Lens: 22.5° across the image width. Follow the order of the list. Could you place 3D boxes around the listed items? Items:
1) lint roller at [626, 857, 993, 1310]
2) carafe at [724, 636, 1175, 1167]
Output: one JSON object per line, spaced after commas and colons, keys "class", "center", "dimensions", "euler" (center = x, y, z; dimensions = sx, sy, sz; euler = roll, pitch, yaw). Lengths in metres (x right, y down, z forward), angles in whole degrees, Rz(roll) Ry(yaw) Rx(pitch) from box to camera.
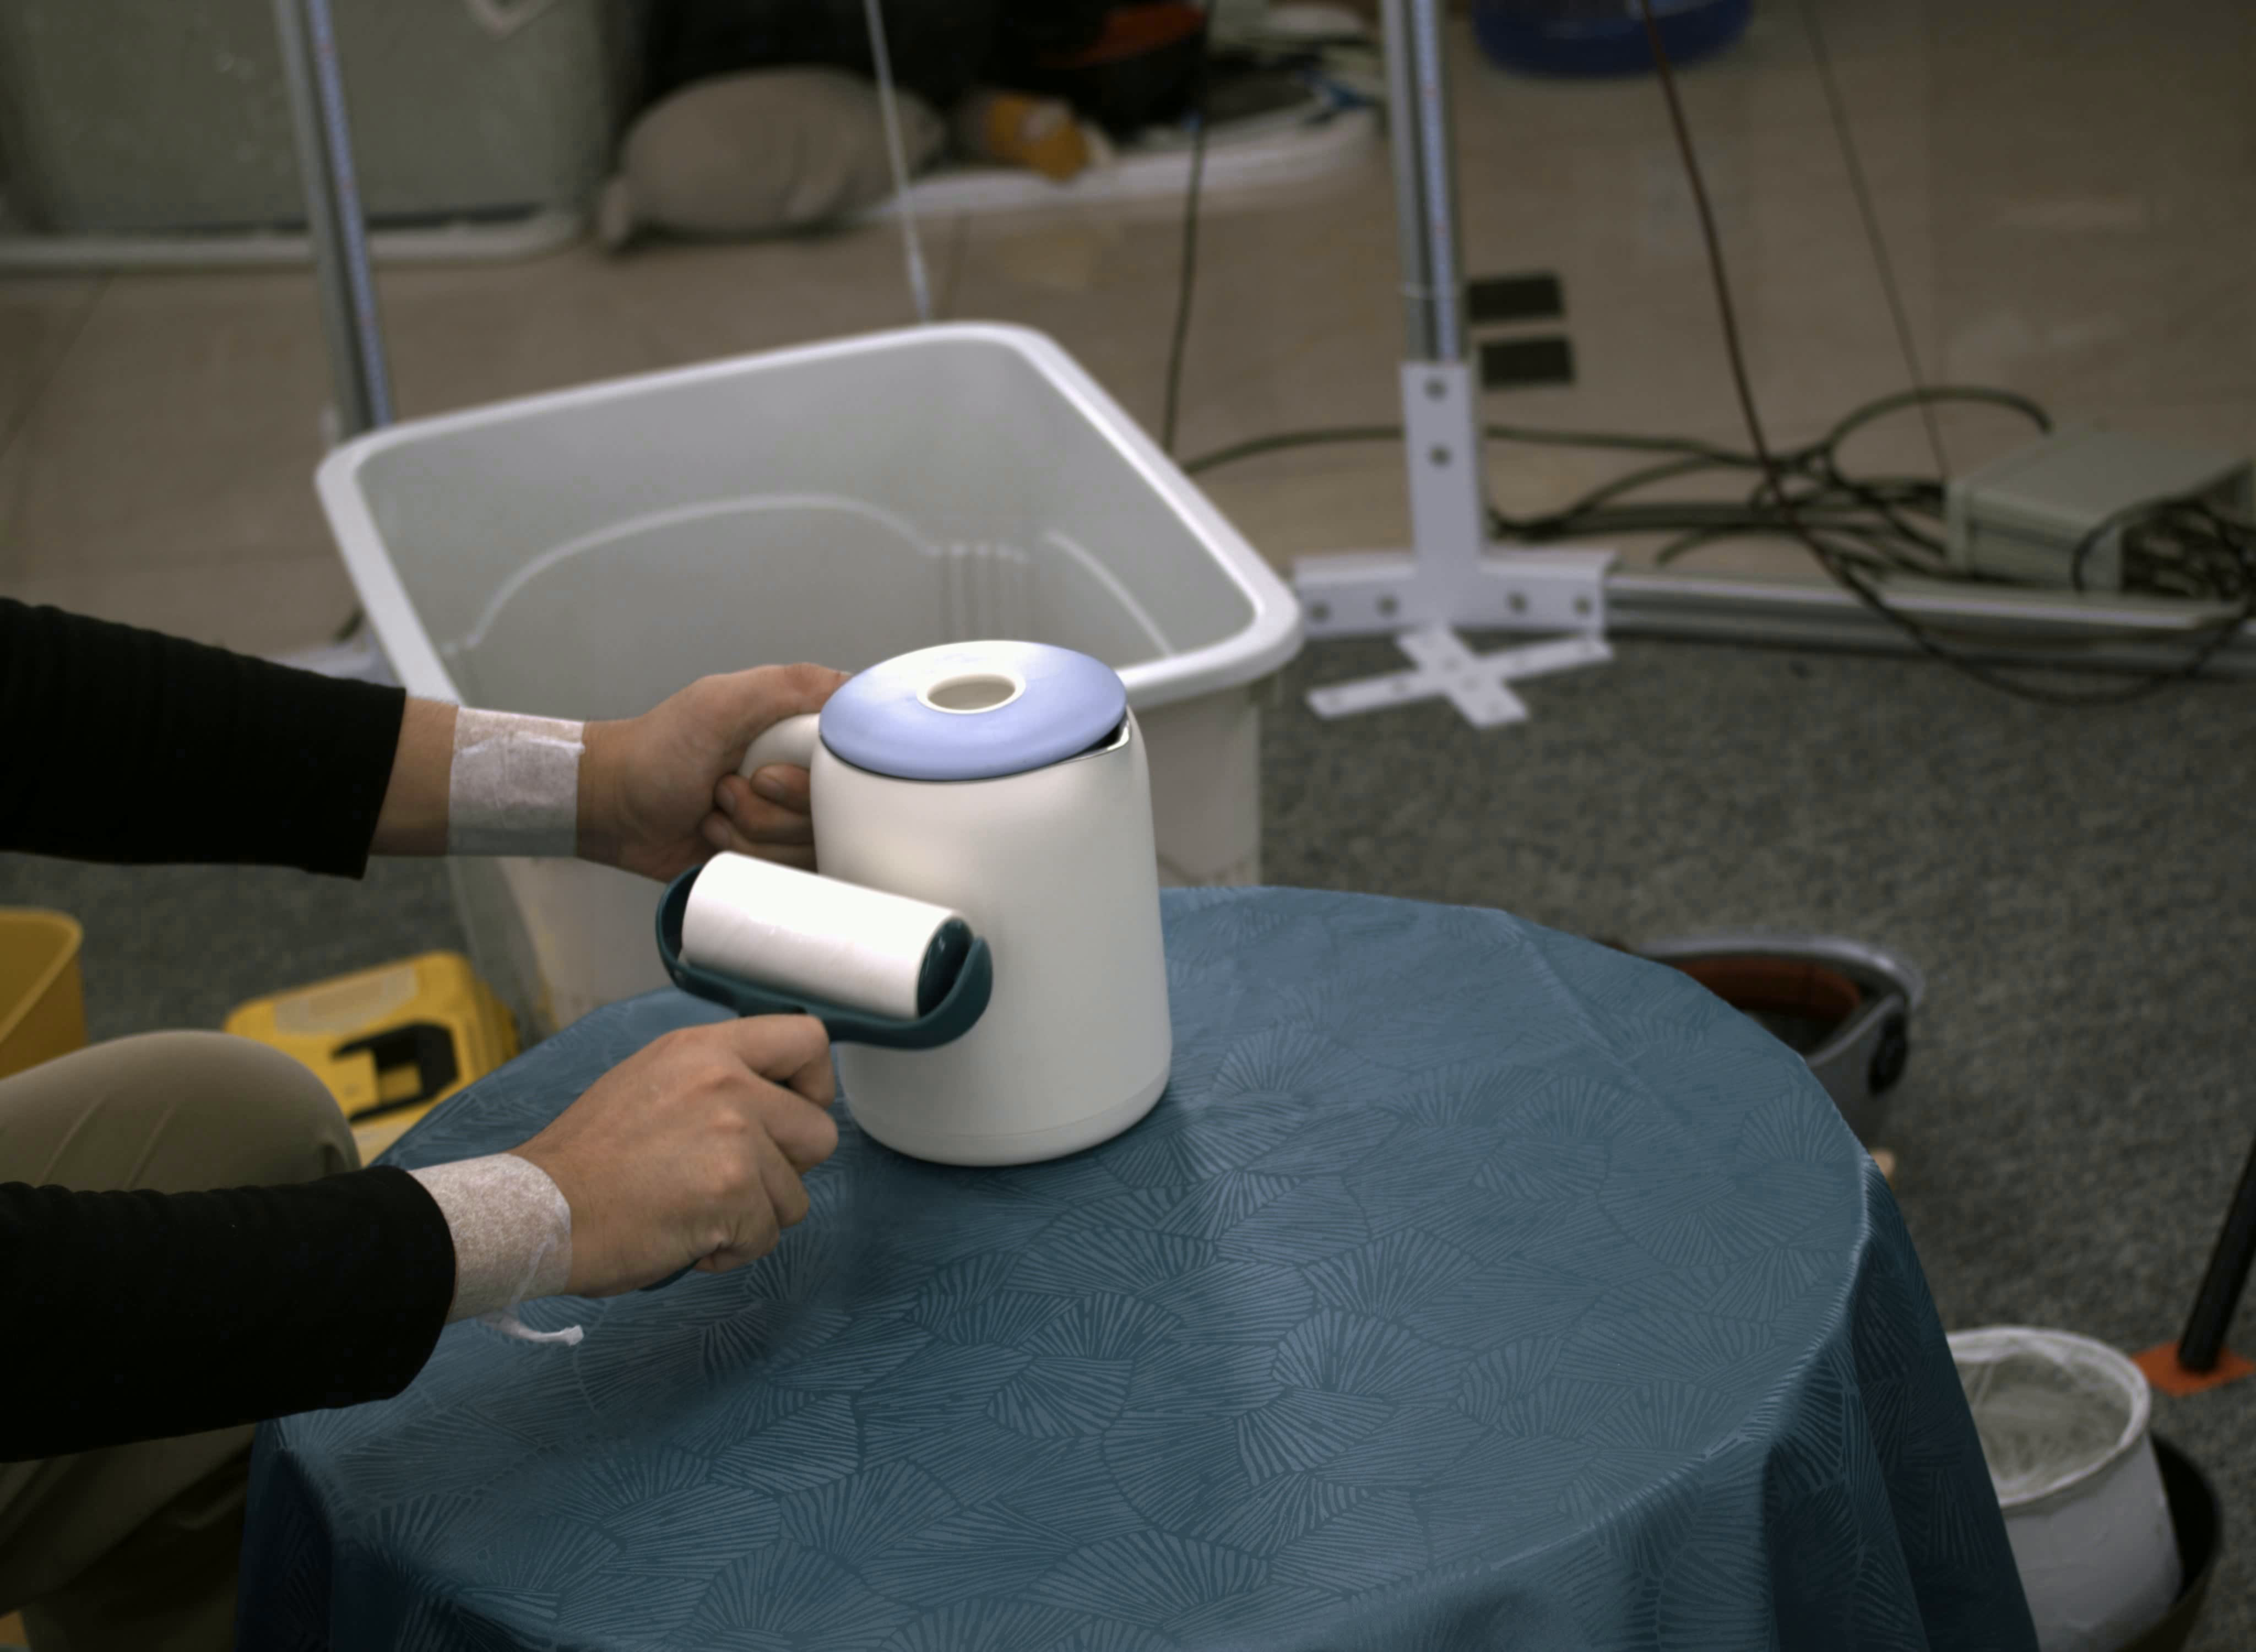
{"class": "lint roller", "center": [-0.140, 0.094, 2.073], "dimensions": [0.133, 0.049, 0.177], "euler": [14, 54, 23]}
{"class": "carafe", "center": [-0.074, 0.025, 2.198], "dimensions": [0.190, 0.185, 0.130], "euler": [8, 29, 28]}
